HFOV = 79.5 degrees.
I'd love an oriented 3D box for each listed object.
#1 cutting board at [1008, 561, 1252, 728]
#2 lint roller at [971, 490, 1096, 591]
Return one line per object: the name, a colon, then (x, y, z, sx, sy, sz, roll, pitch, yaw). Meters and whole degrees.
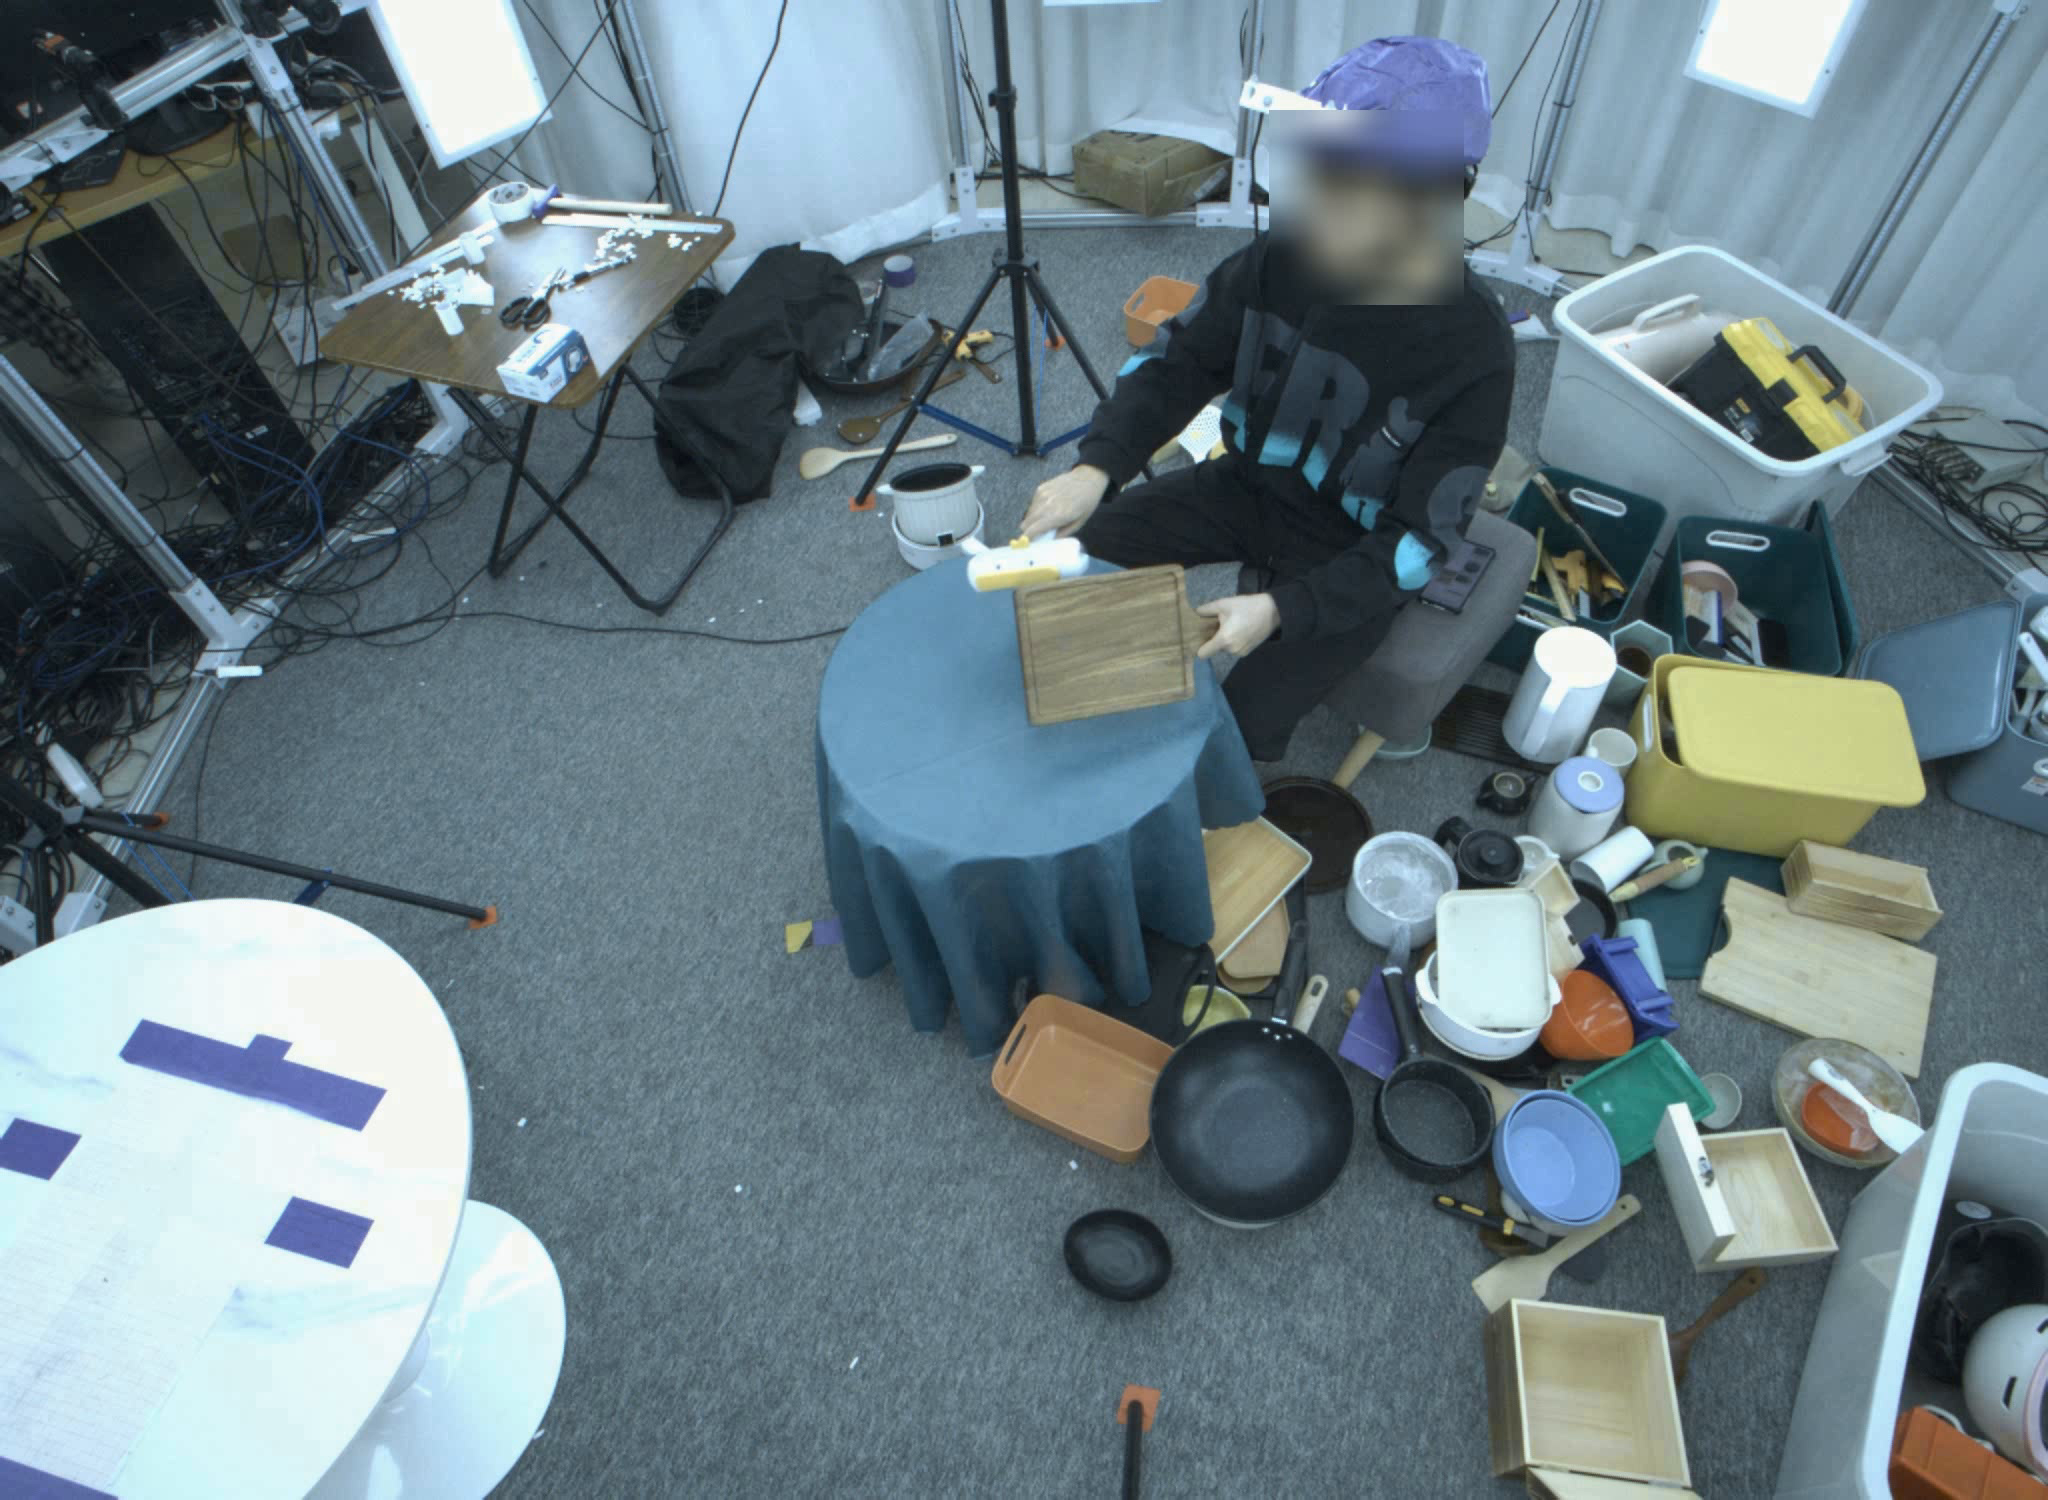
cutting board: (0.159, -0.158, 1.736, 0.356, 0.202, 0.023, -11, 13, -16)
lint roller: (0.027, -0.312, 1.793, 0.189, 0.075, 0.192, -10, 35, 32)
